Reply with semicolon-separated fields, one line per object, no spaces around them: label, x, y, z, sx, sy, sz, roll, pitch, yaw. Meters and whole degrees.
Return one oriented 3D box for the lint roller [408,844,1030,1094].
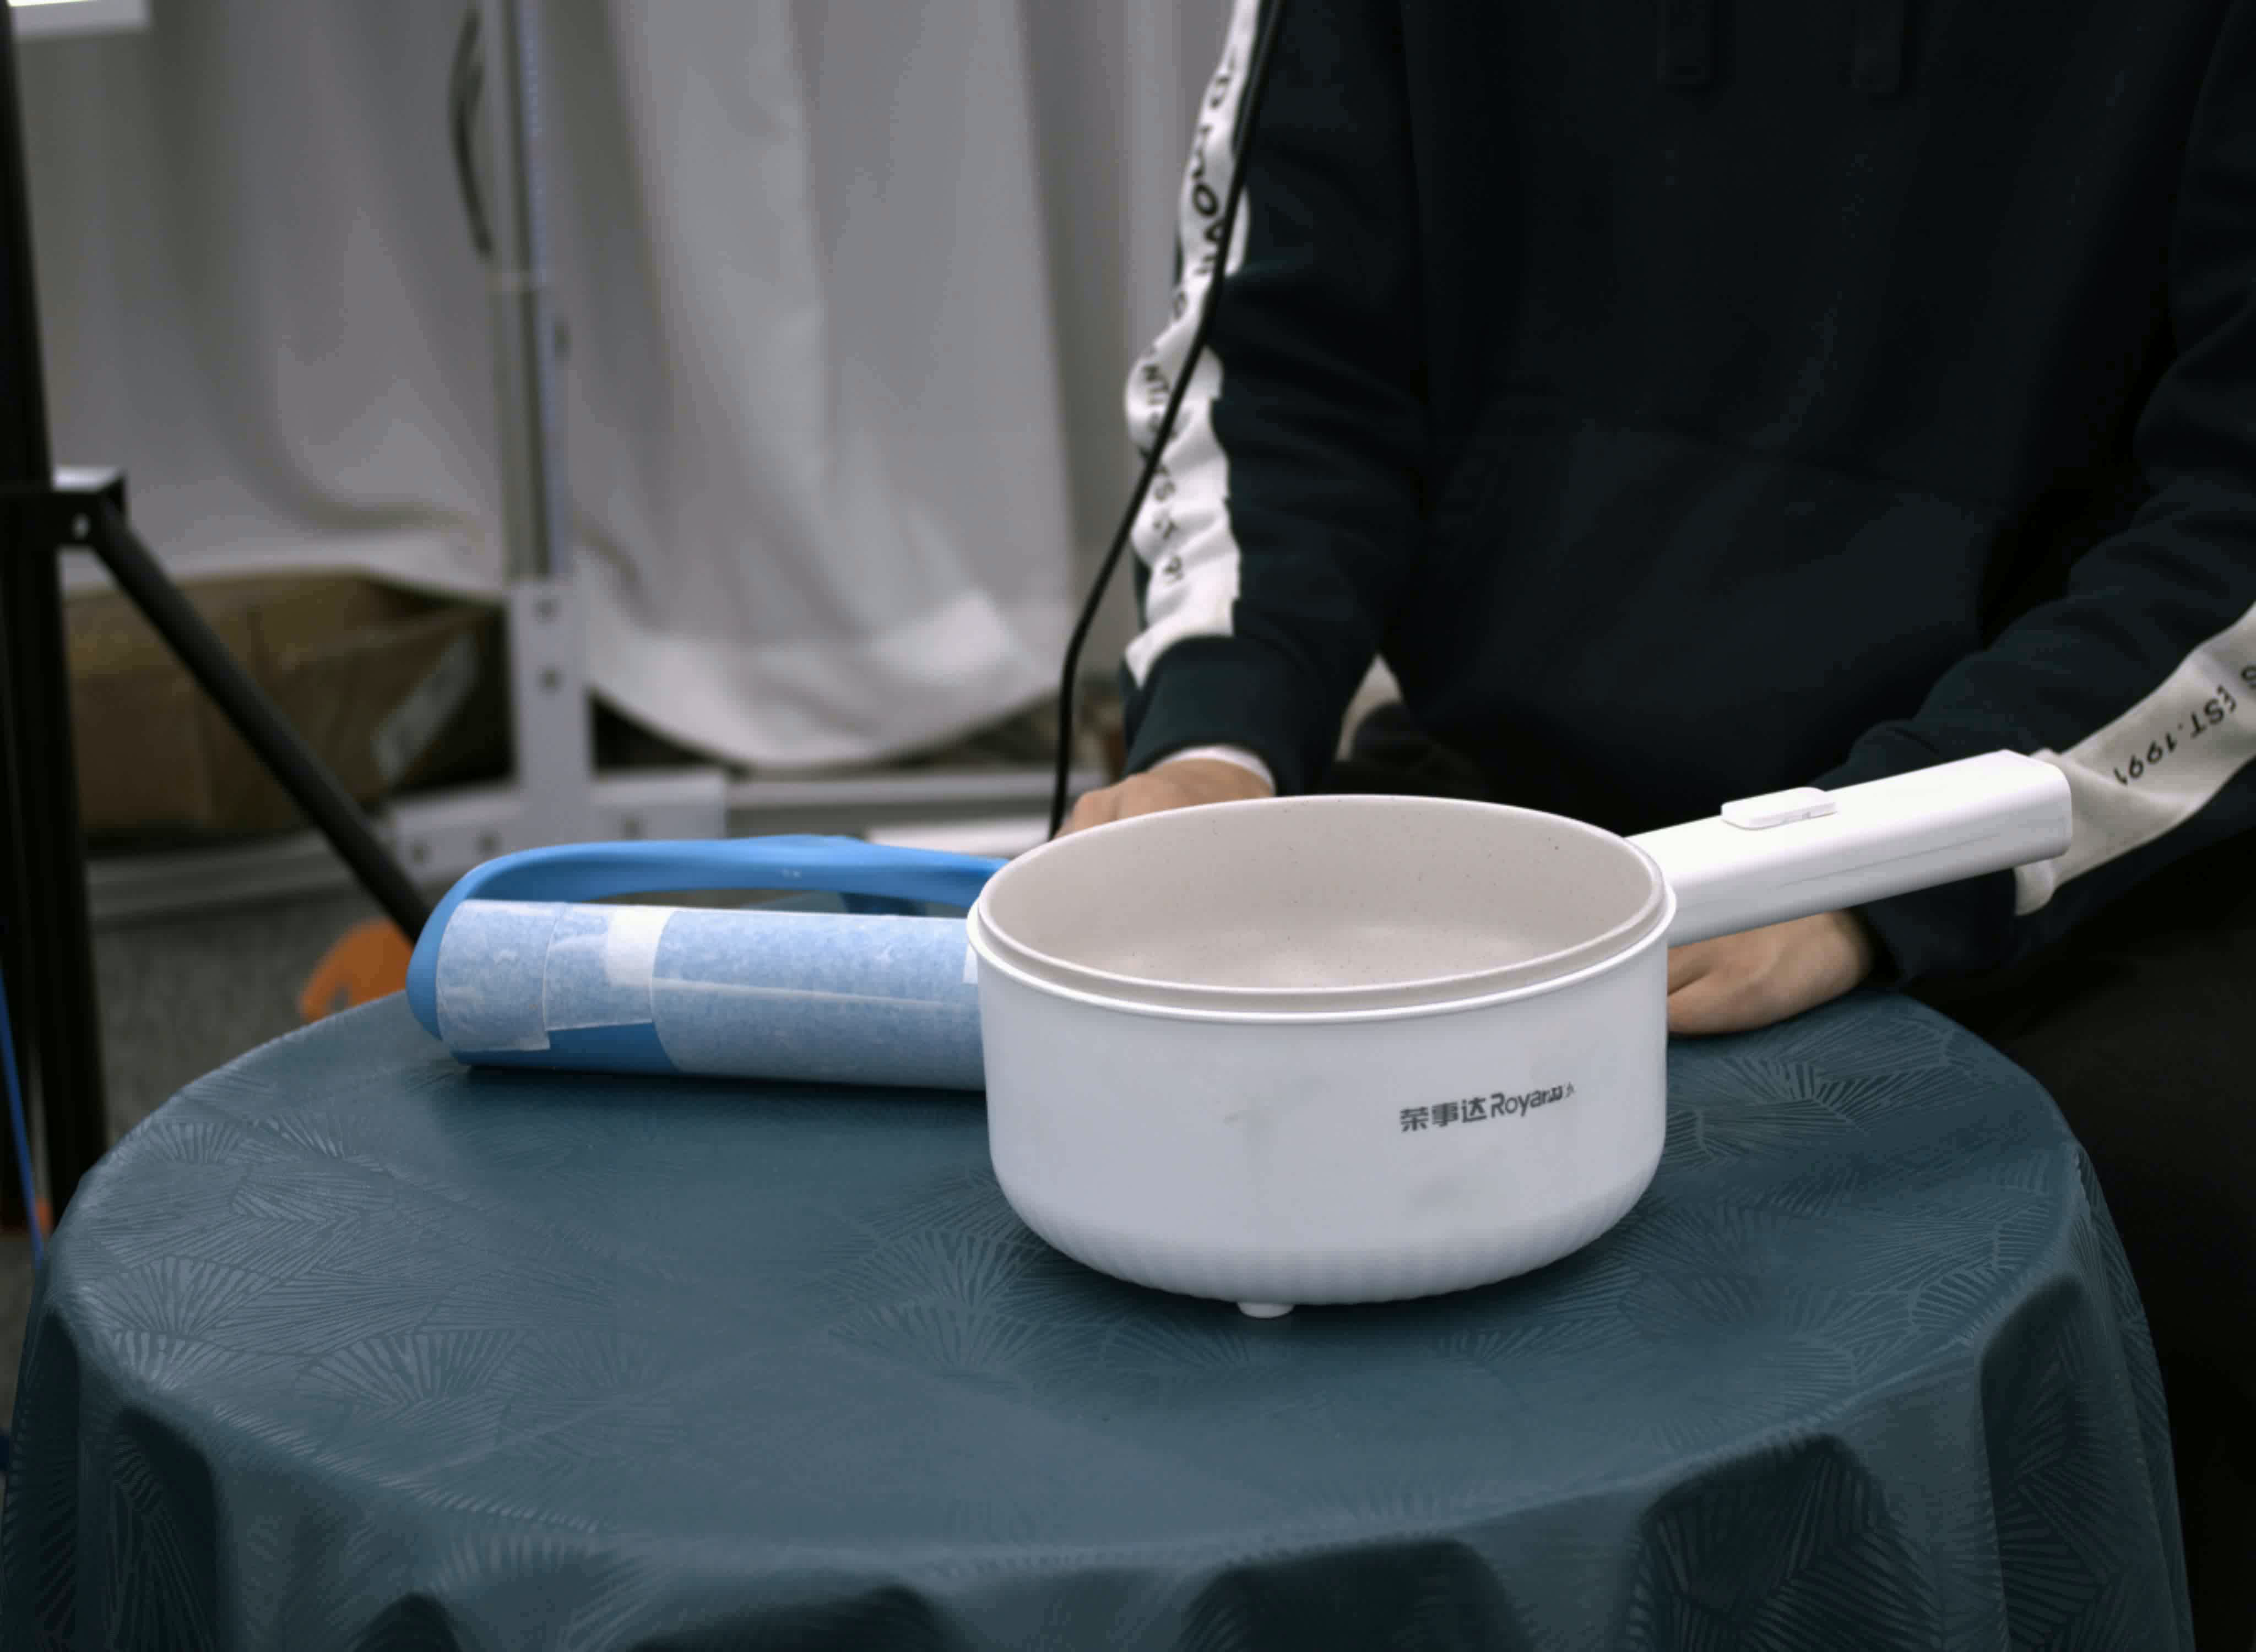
lint roller;-0.105;0.036;1.725;0.230;0.068;0.179;0;17;14

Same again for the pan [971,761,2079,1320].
pan;0.124;0.055;1.543;0.347;0.102;0.205;-10;16;-26
